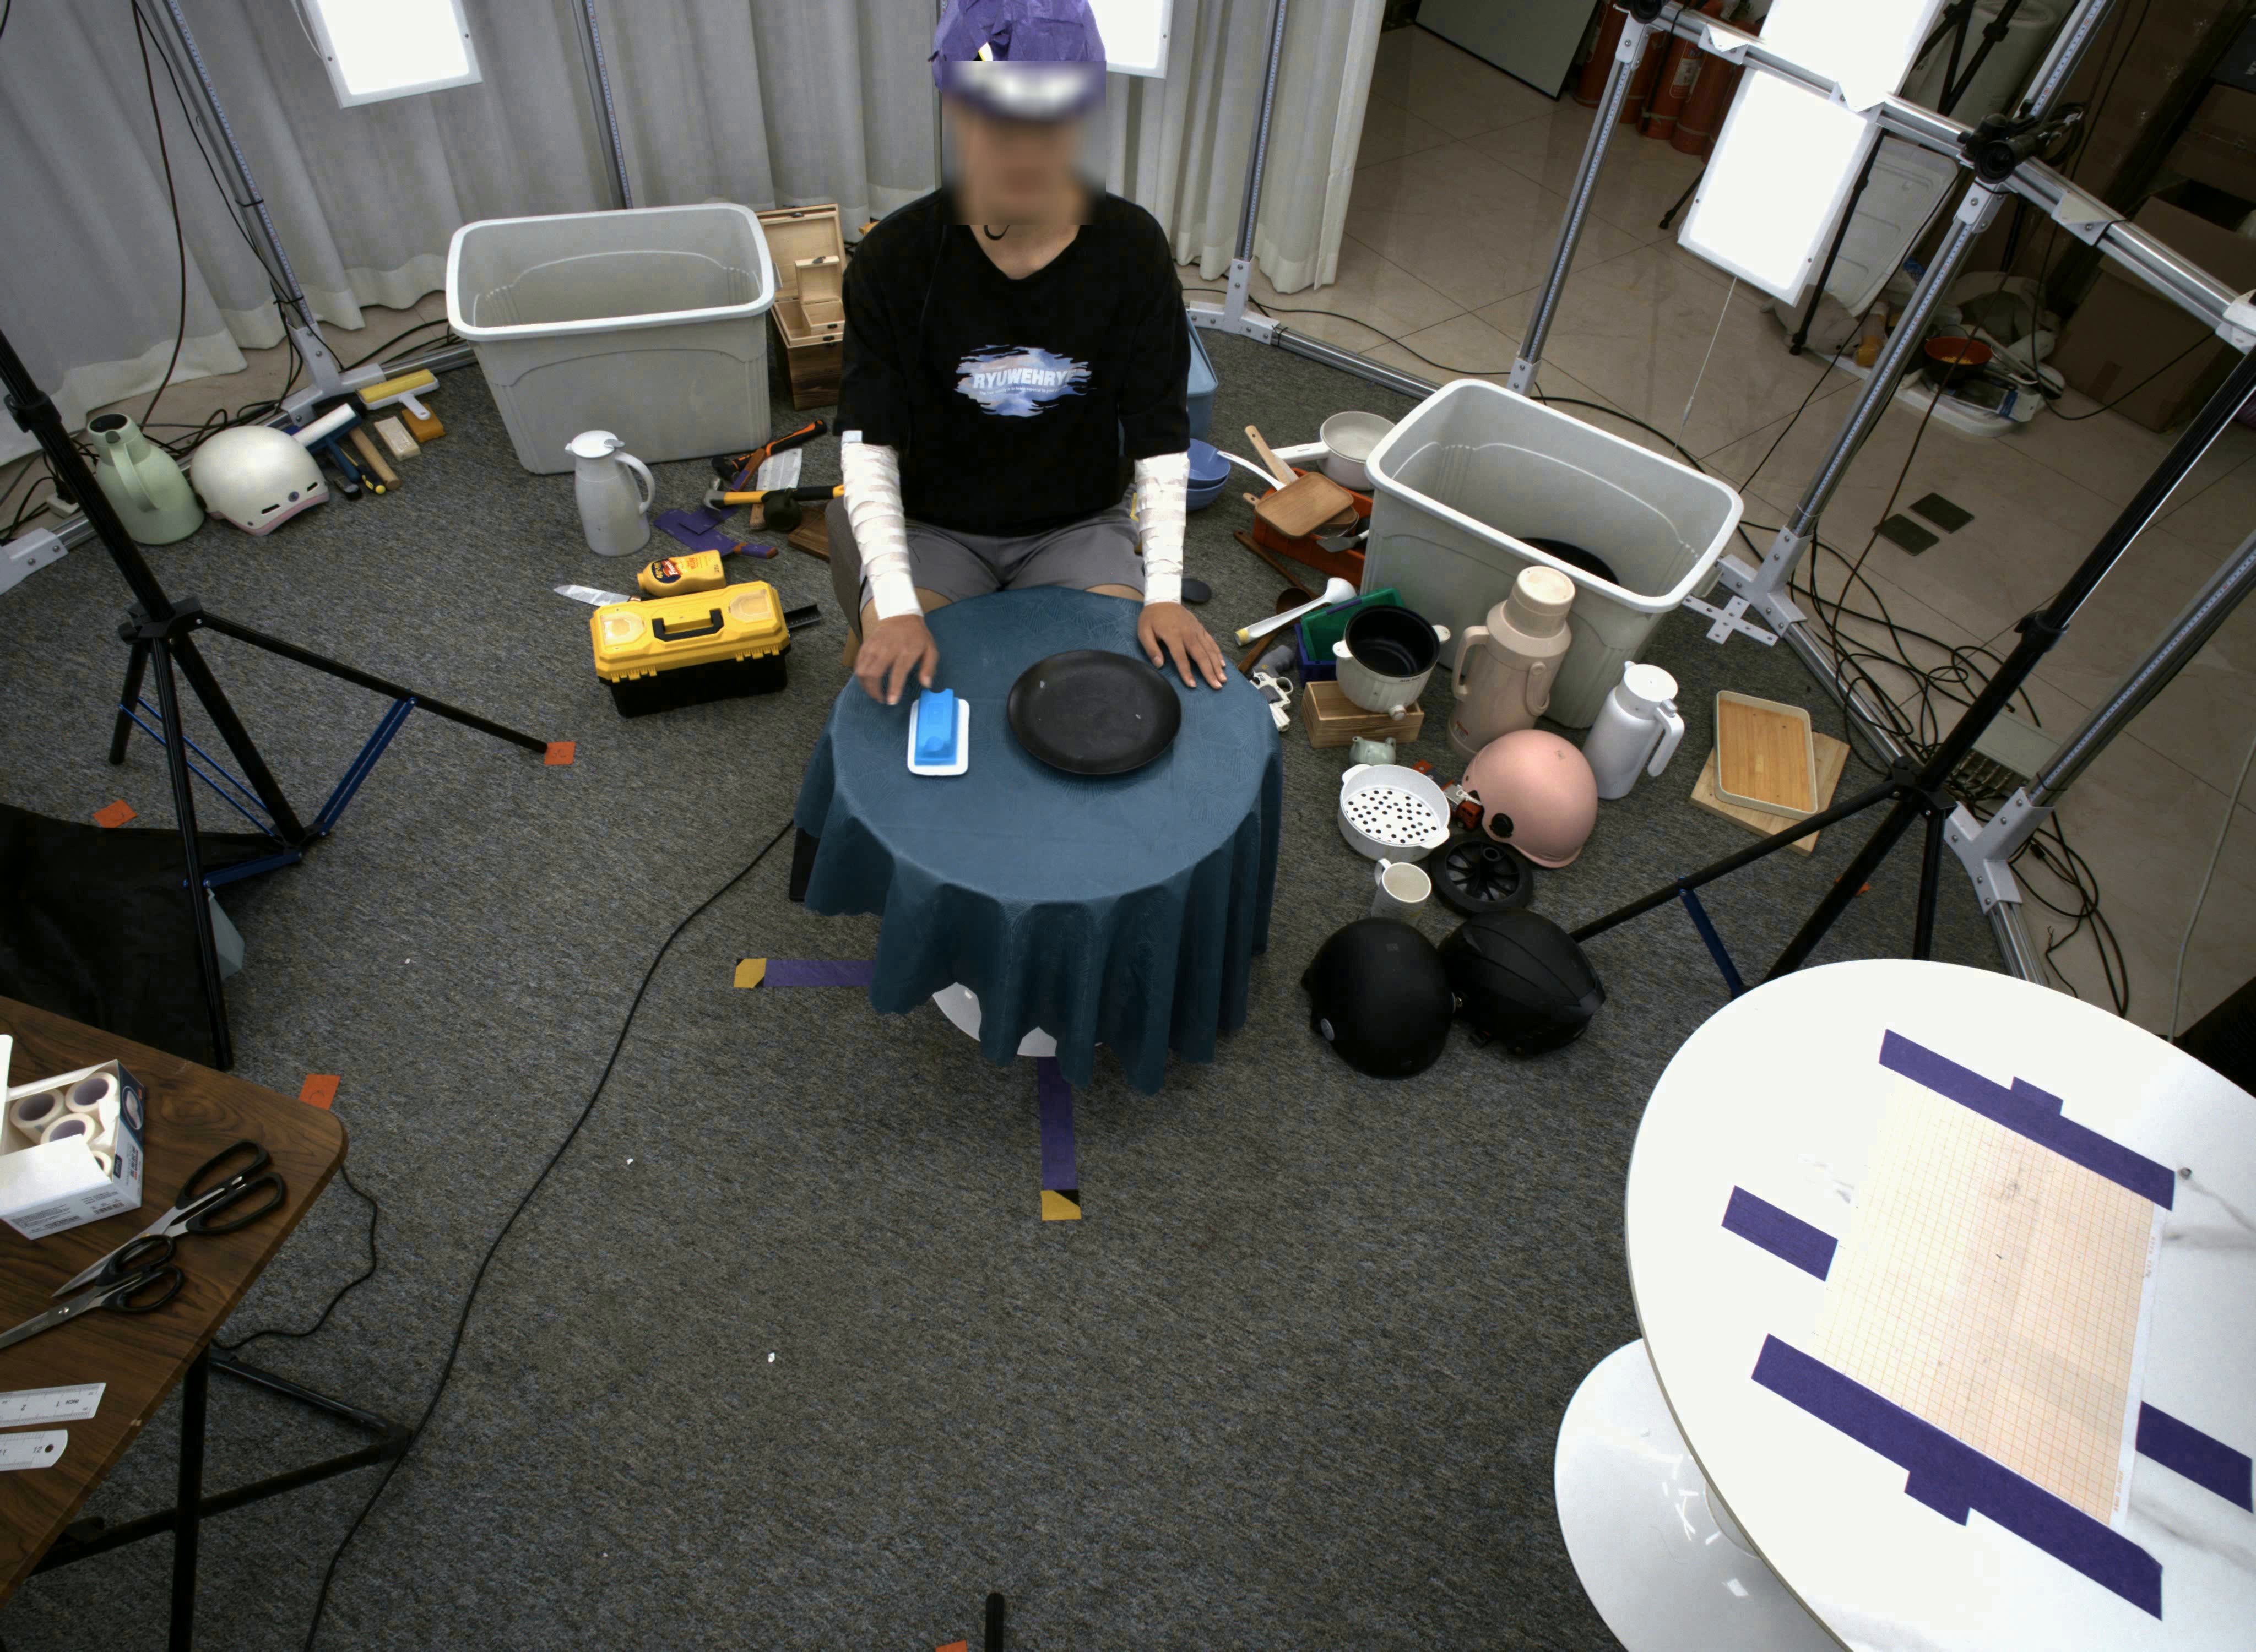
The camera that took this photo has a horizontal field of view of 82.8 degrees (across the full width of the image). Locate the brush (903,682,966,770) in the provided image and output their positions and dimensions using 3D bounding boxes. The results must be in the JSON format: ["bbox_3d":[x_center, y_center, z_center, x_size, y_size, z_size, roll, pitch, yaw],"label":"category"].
[{"bbox_3d":[-0.261,-0.143,1.740,0.083,0.054,0.147,1,52,-8],"label":"brush"}]

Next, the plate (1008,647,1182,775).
[{"bbox_3d":[-0.046,-0.158,1.791,0.244,0.023,0.250,2,50,-2],"label":"plate"}]
